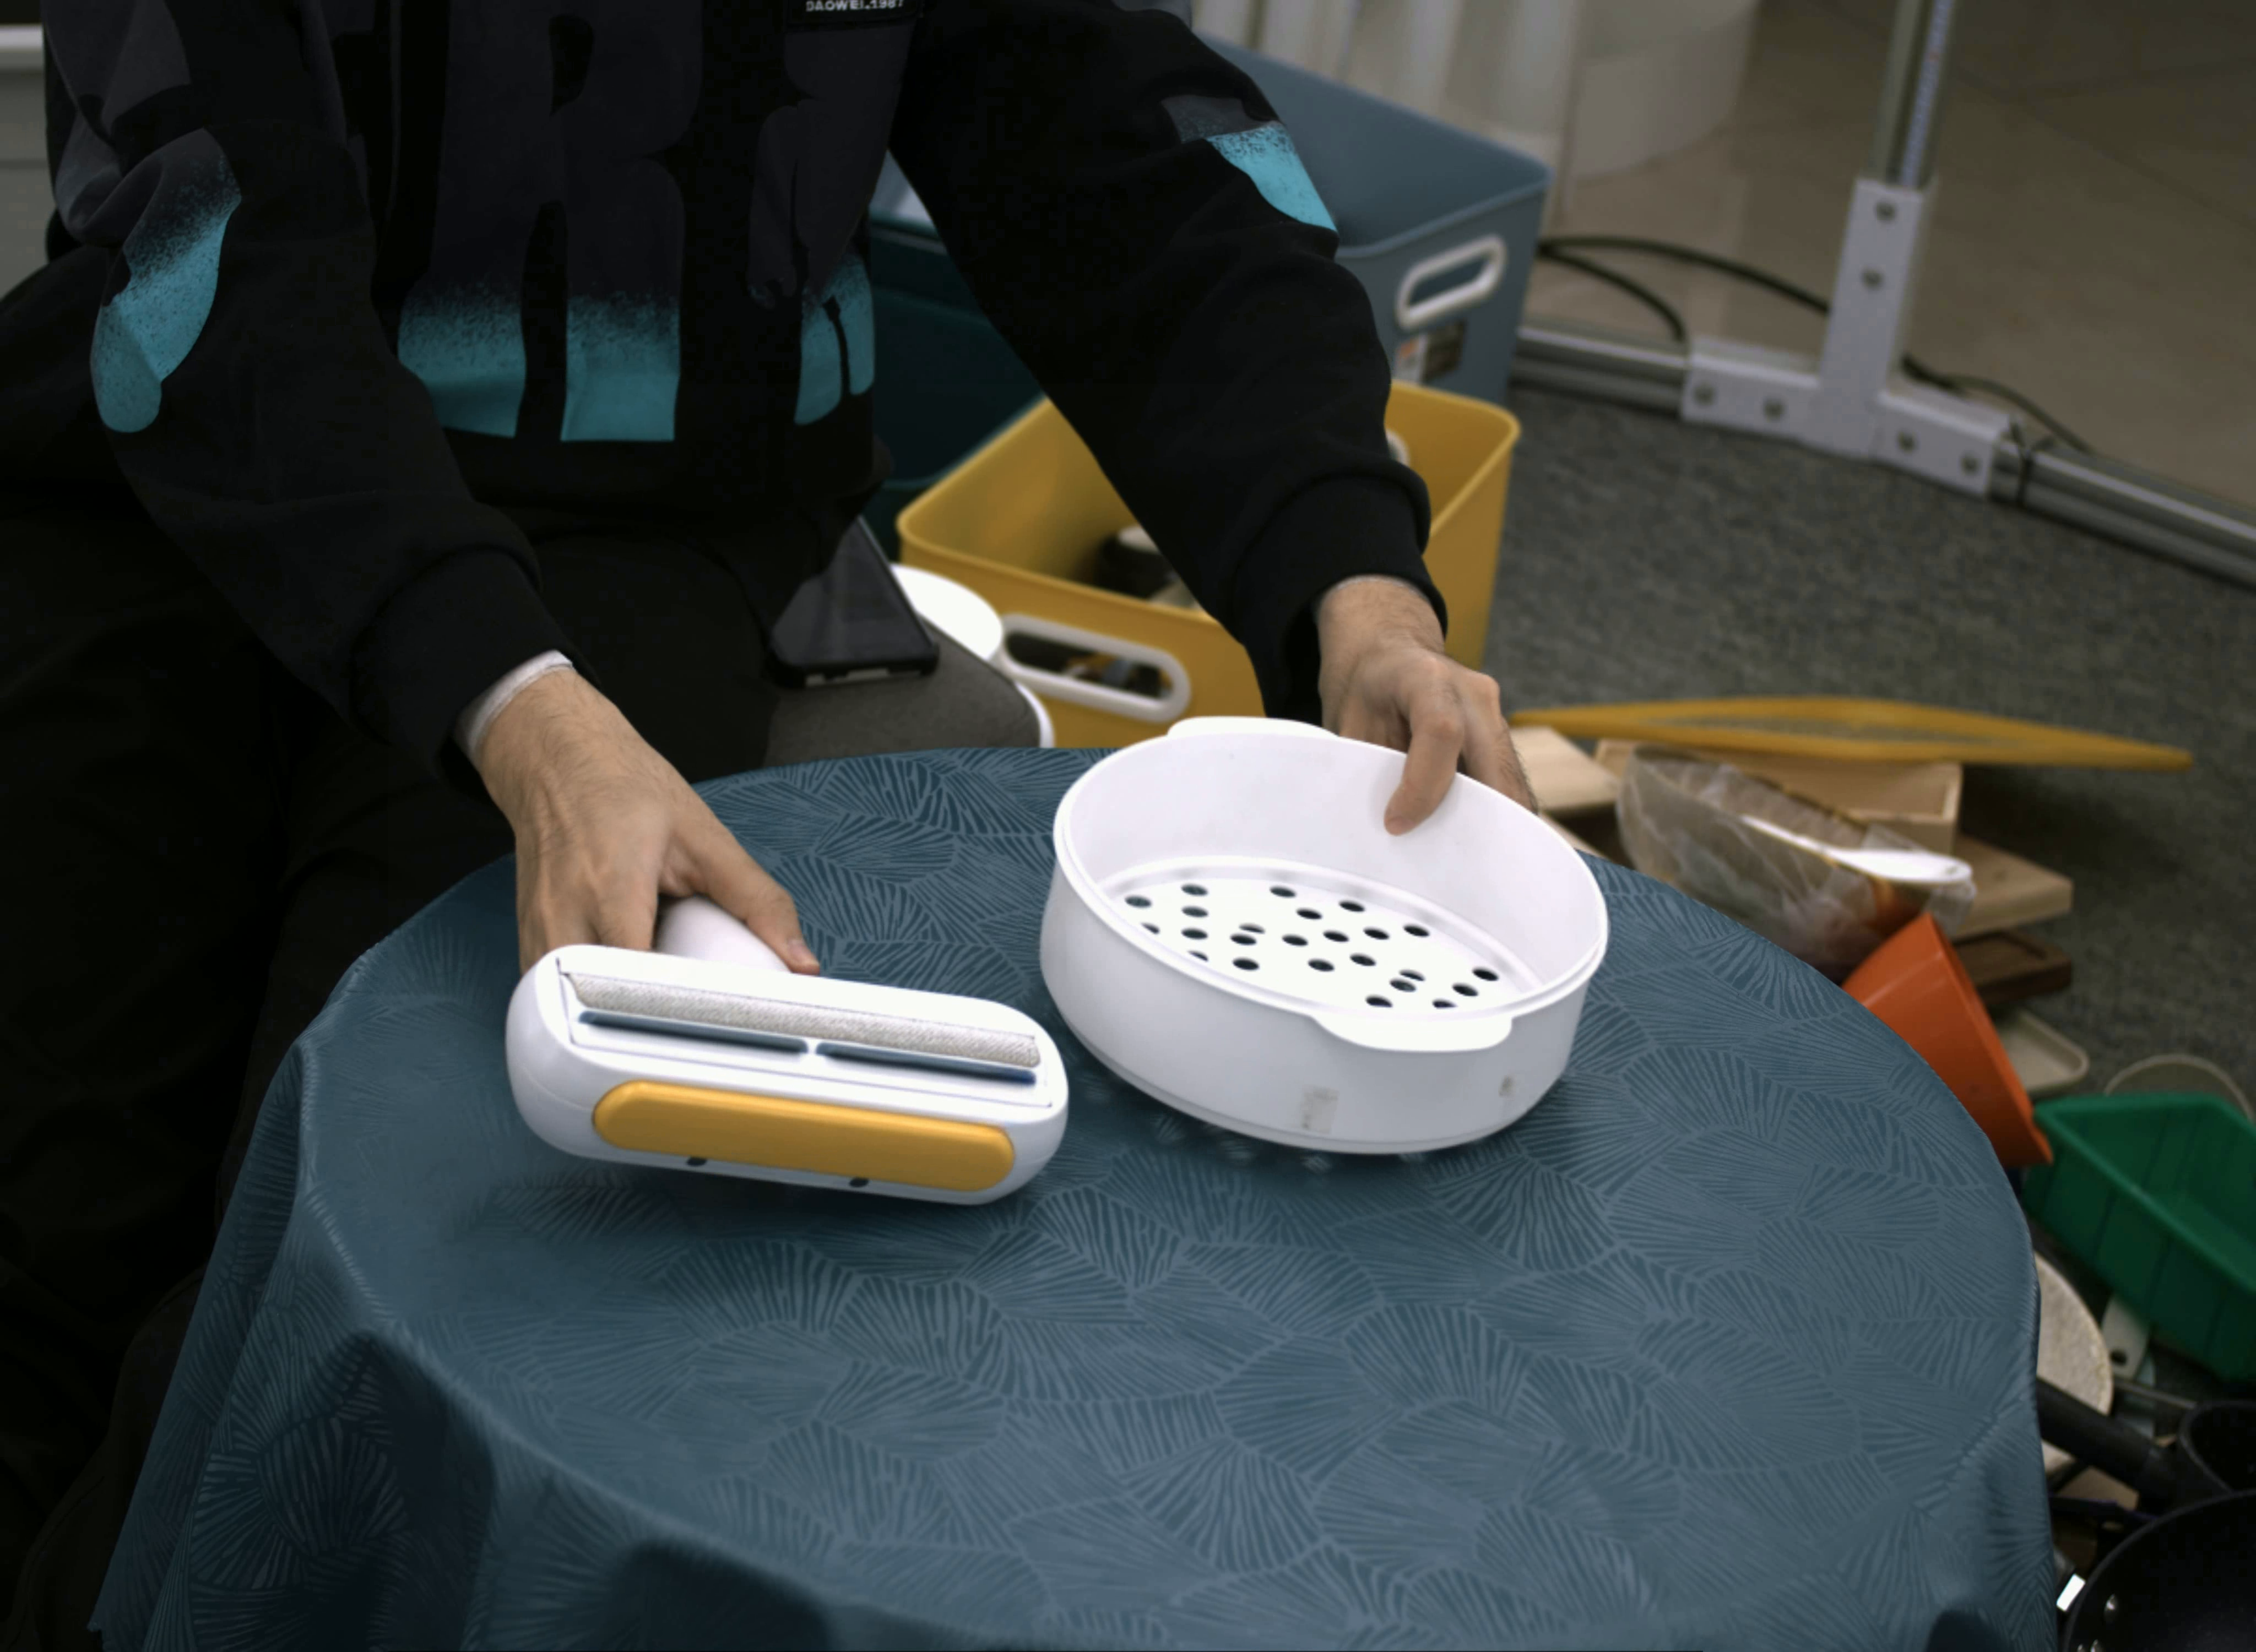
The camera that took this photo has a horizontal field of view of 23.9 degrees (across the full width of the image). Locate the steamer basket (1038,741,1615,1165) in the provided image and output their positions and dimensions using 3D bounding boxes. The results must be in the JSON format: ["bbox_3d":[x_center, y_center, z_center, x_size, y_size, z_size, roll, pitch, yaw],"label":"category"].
[{"bbox_3d":[0.068,0.047,1.885,0.200,0.069,0.232,2,27,-18],"label":"steamer basket"}]

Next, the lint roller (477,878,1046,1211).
[{"bbox_3d":[-0.133,0.058,1.810,0.191,0.074,0.194,7,29,-17],"label":"lint roller"}]
